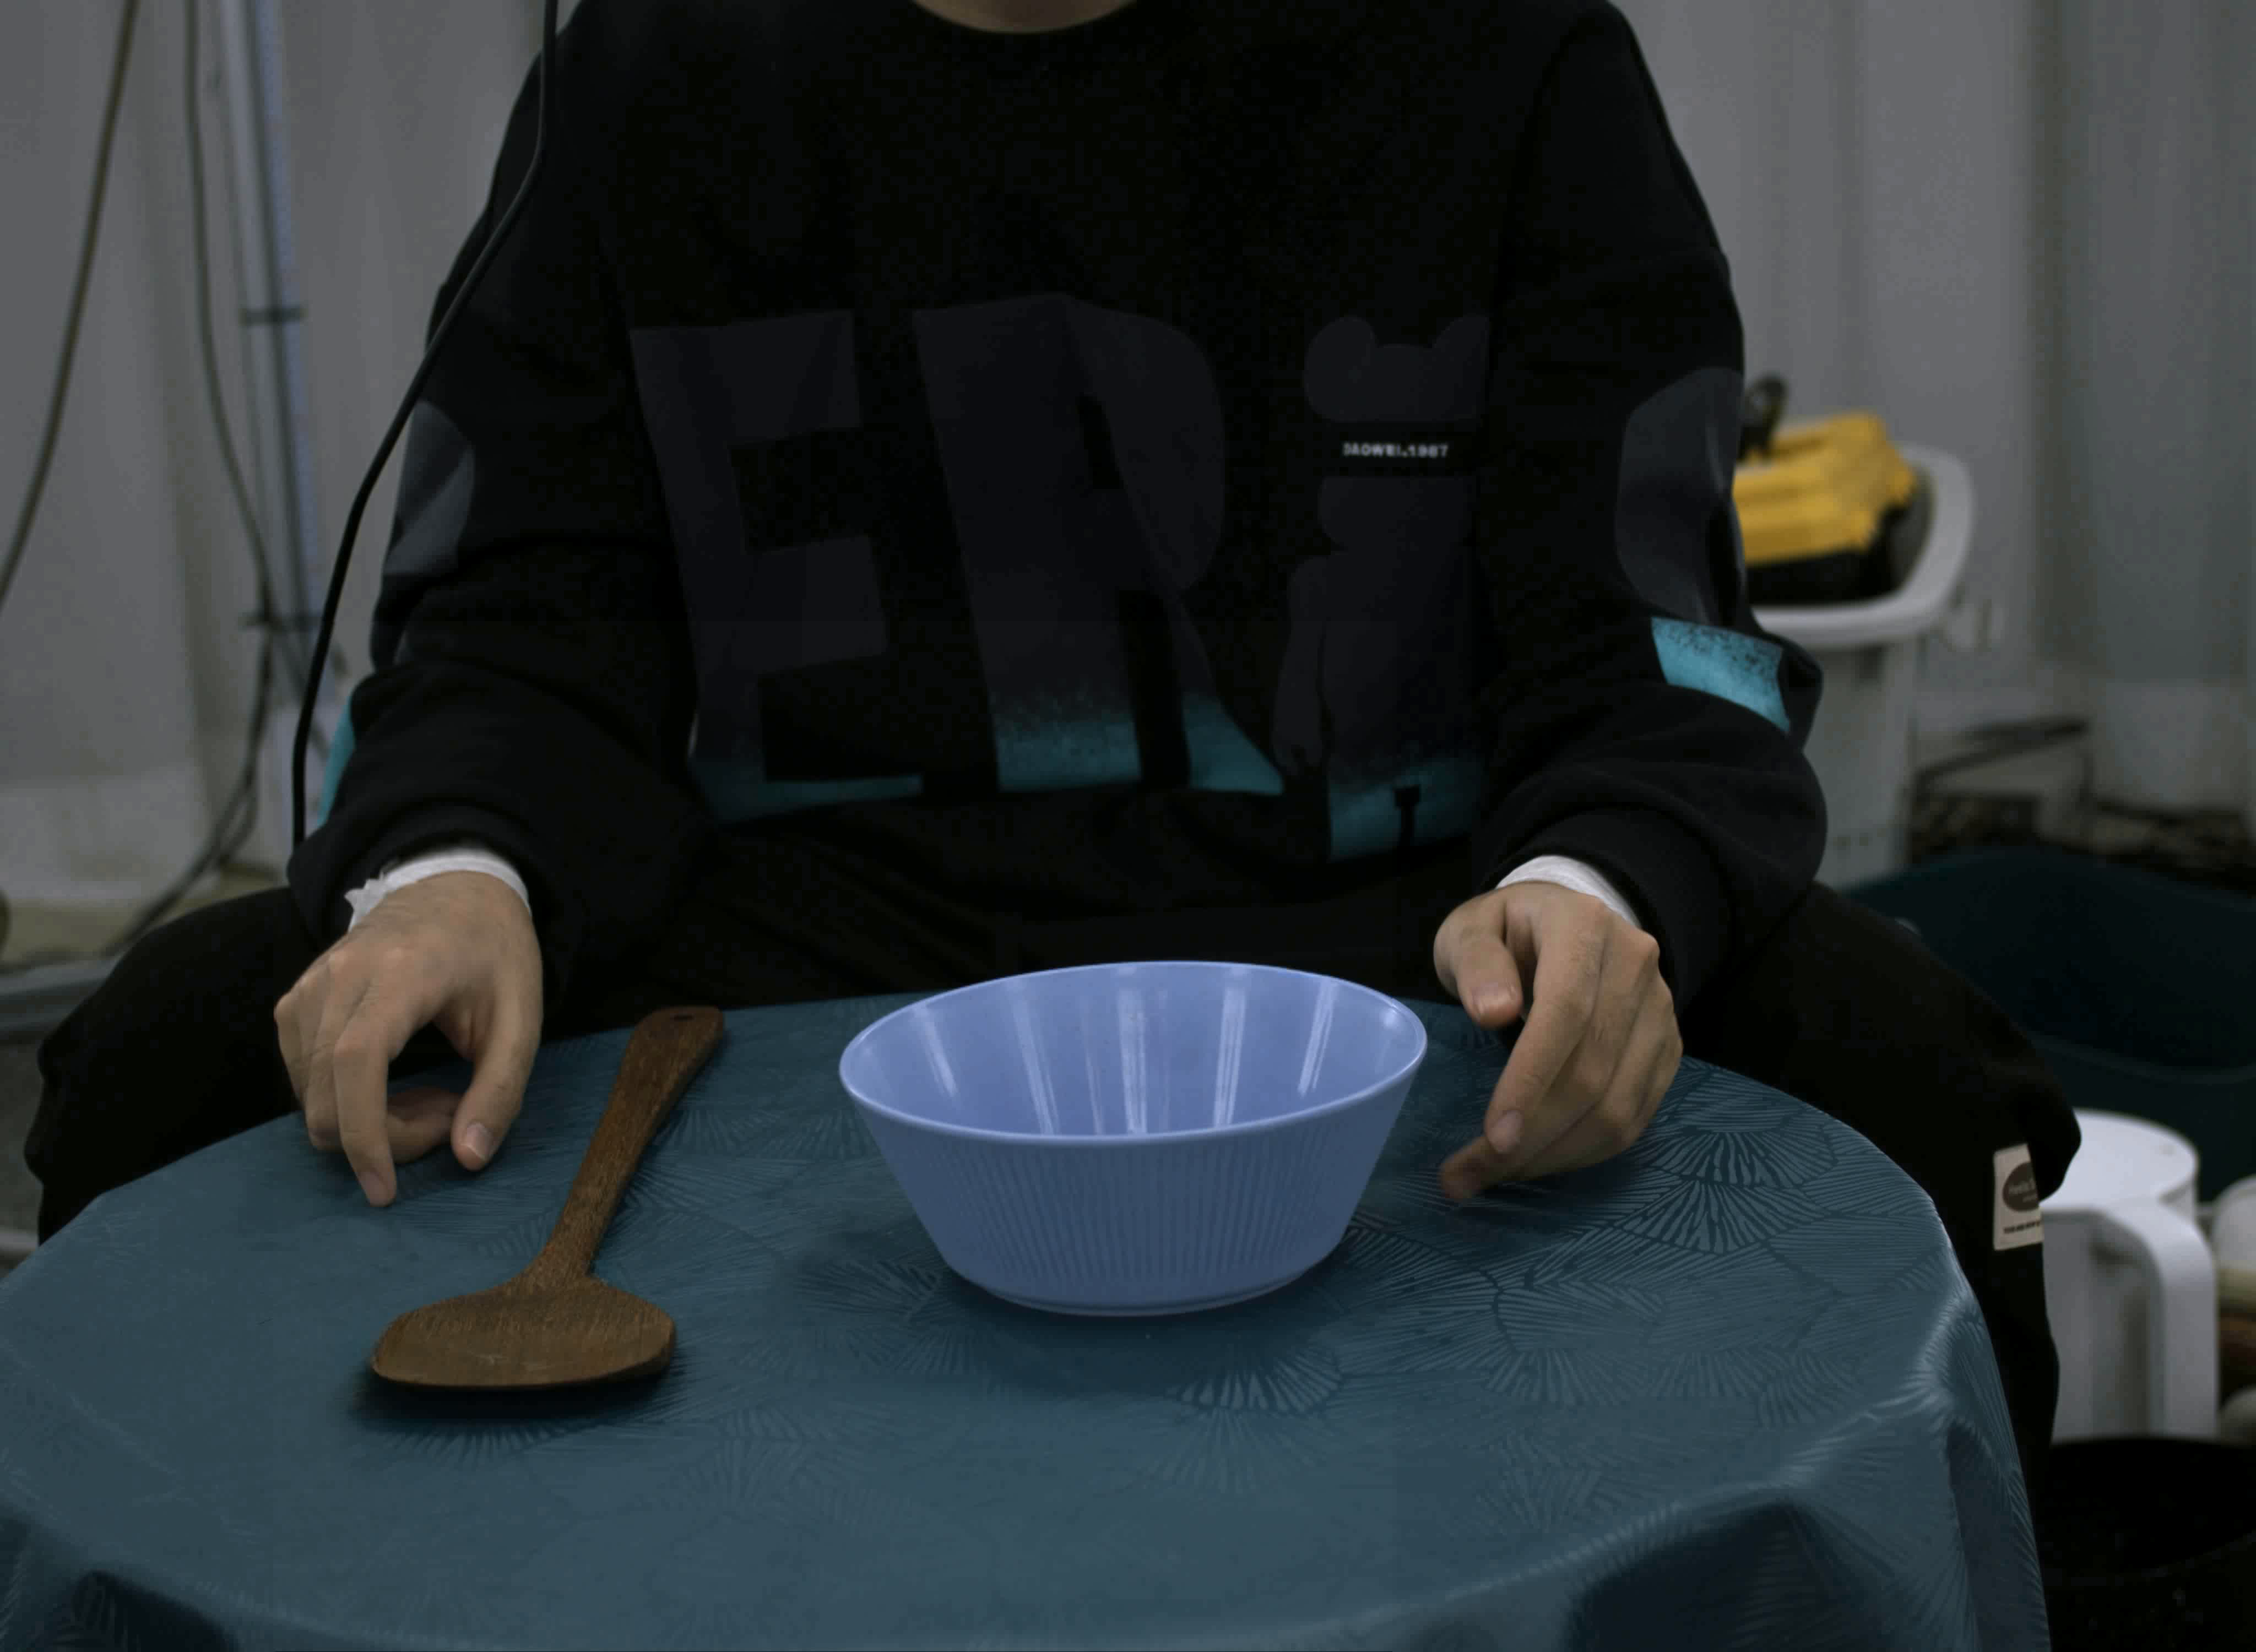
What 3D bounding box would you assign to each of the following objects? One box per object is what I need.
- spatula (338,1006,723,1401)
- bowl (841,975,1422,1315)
[{"bbox_3d":[-0.167,0.113,1.727,0.096,0.016,0.388,-1,15,4],"label":"spatula"},{"bbox_3d":[0.002,0.098,1.644,0.175,0.070,0.177,-2,13,0],"label":"bowl"}]
